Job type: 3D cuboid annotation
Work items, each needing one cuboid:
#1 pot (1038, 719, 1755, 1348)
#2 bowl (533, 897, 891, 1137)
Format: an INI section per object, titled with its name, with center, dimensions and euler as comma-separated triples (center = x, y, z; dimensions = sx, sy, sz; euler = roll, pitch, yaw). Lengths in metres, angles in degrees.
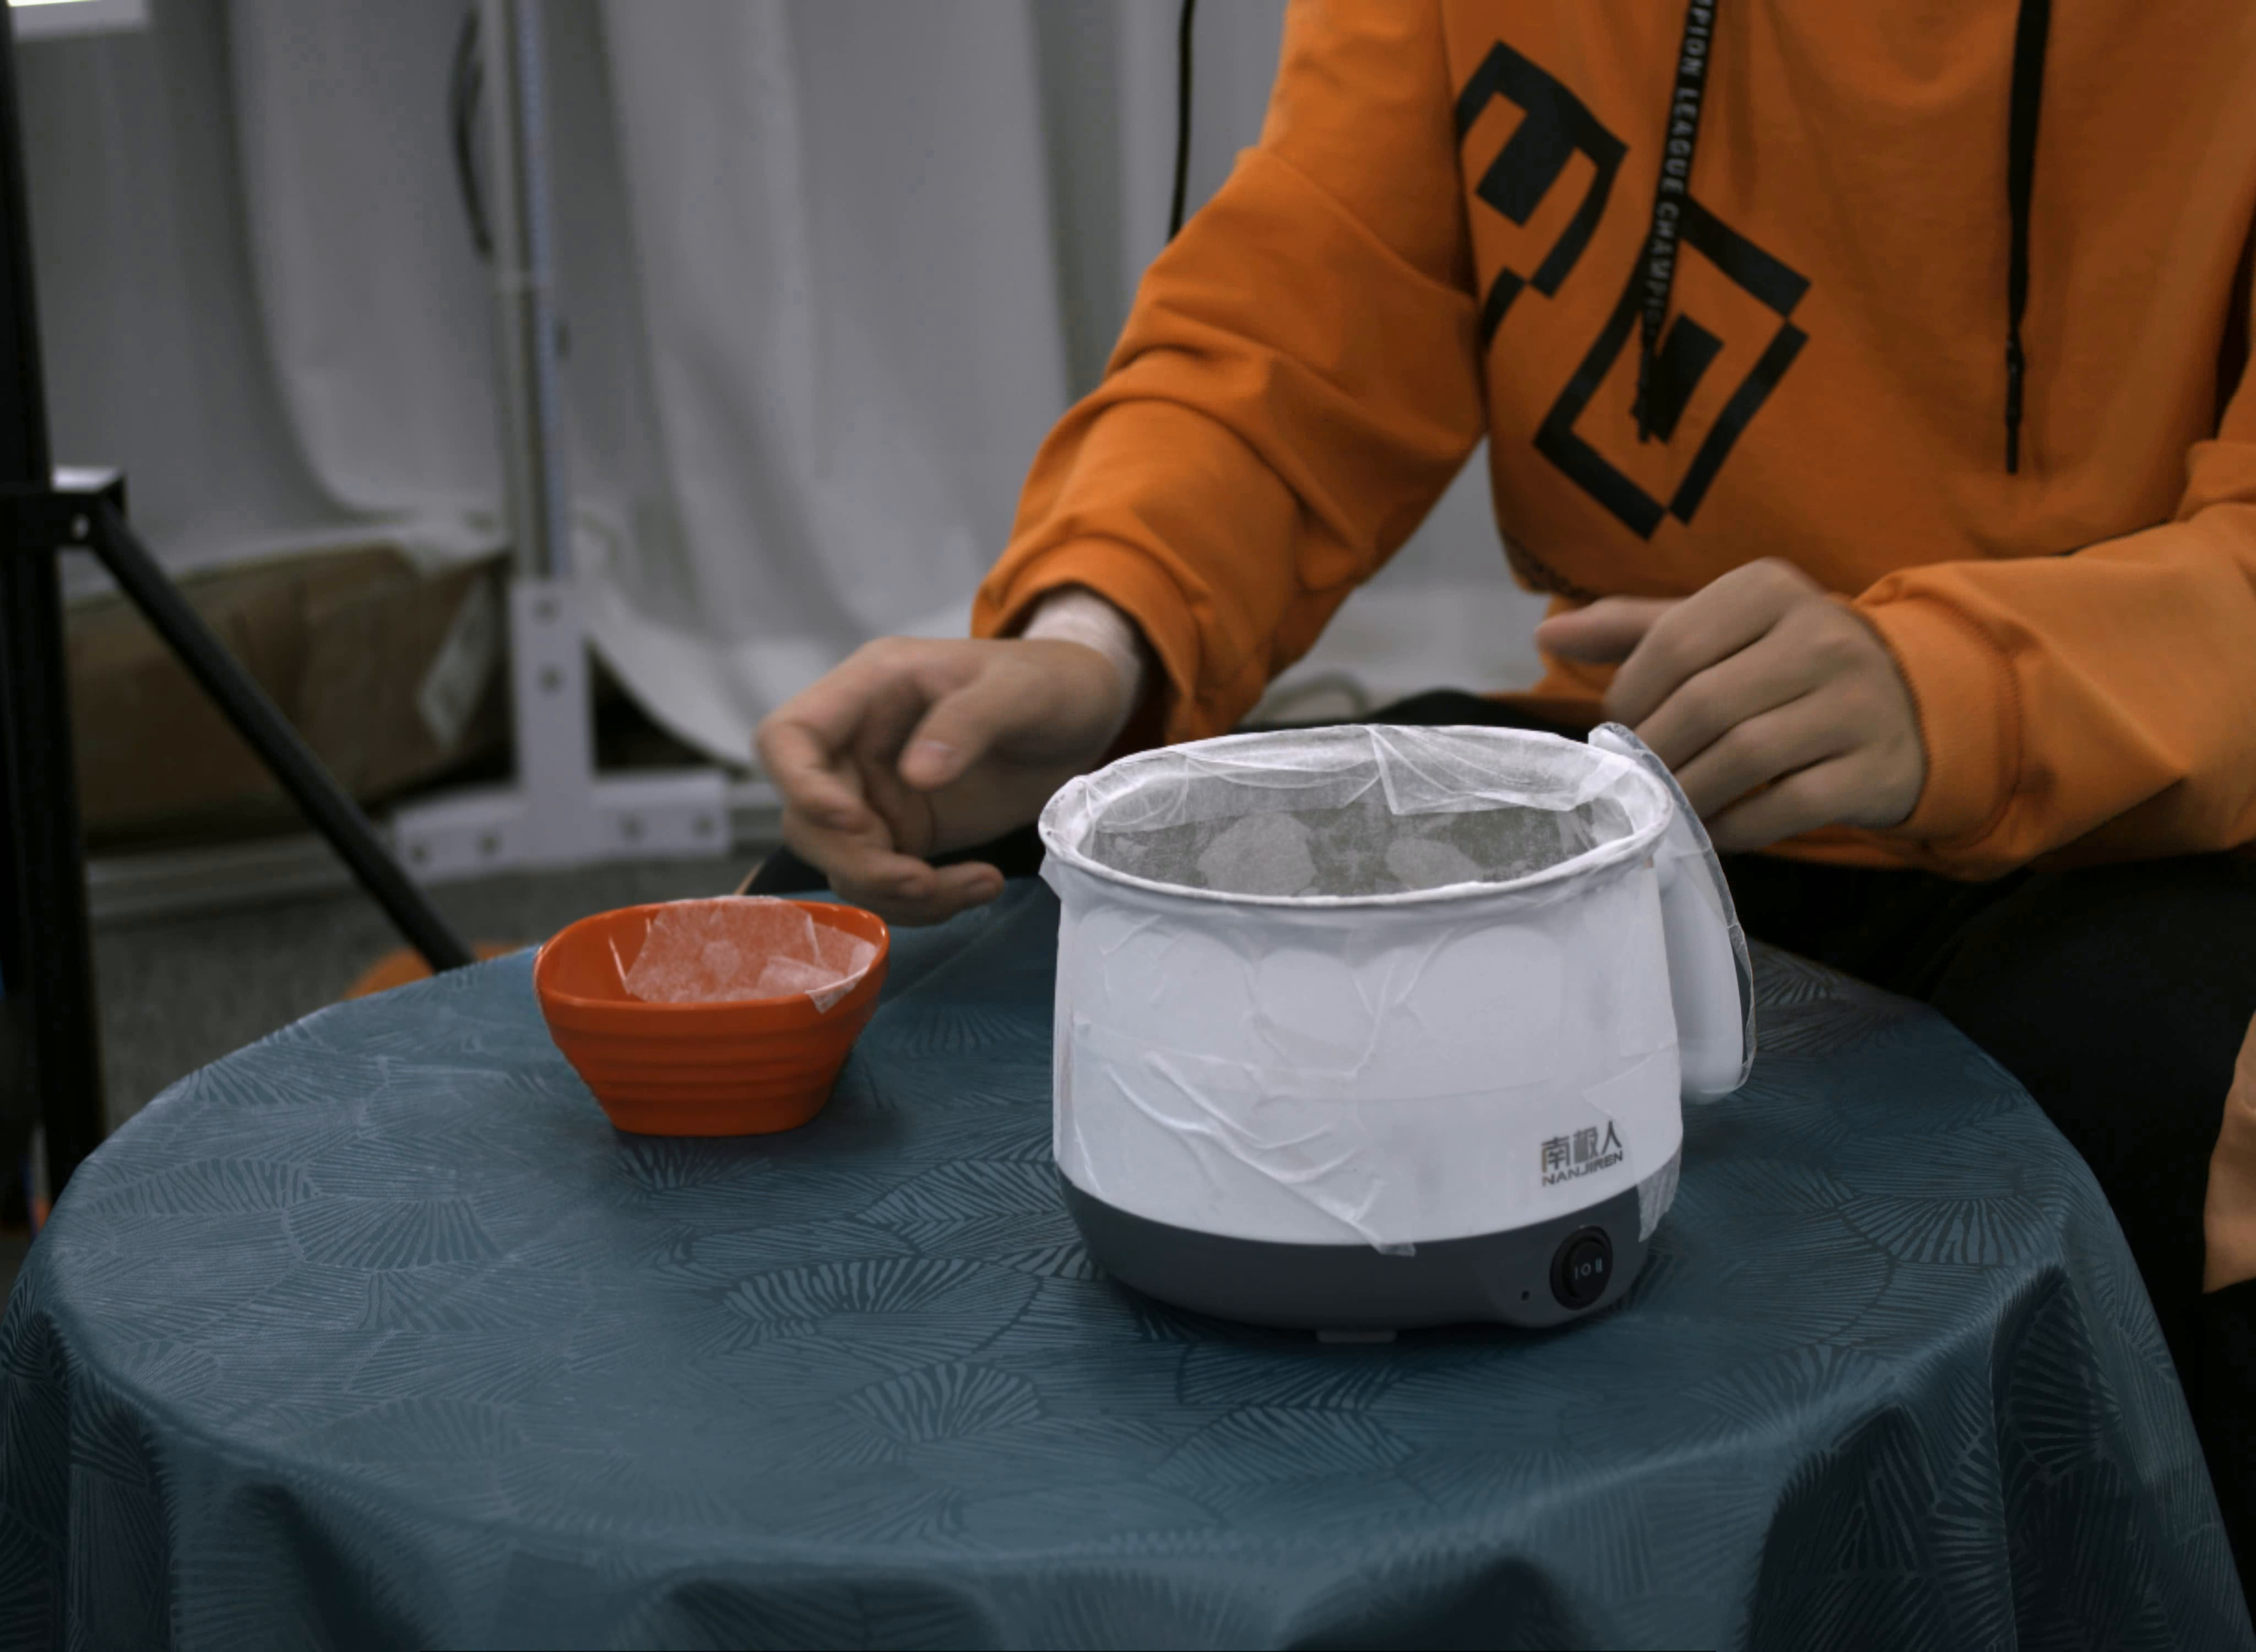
[pot]
center = 0.087, 0.050, 1.496
dimensions = 0.228, 0.136, 0.183
euler = -15, 20, -38
[bowl]
center = -0.127, 0.061, 1.651
dimensions = 0.118, 0.051, 0.119
euler = -4, 16, 0
